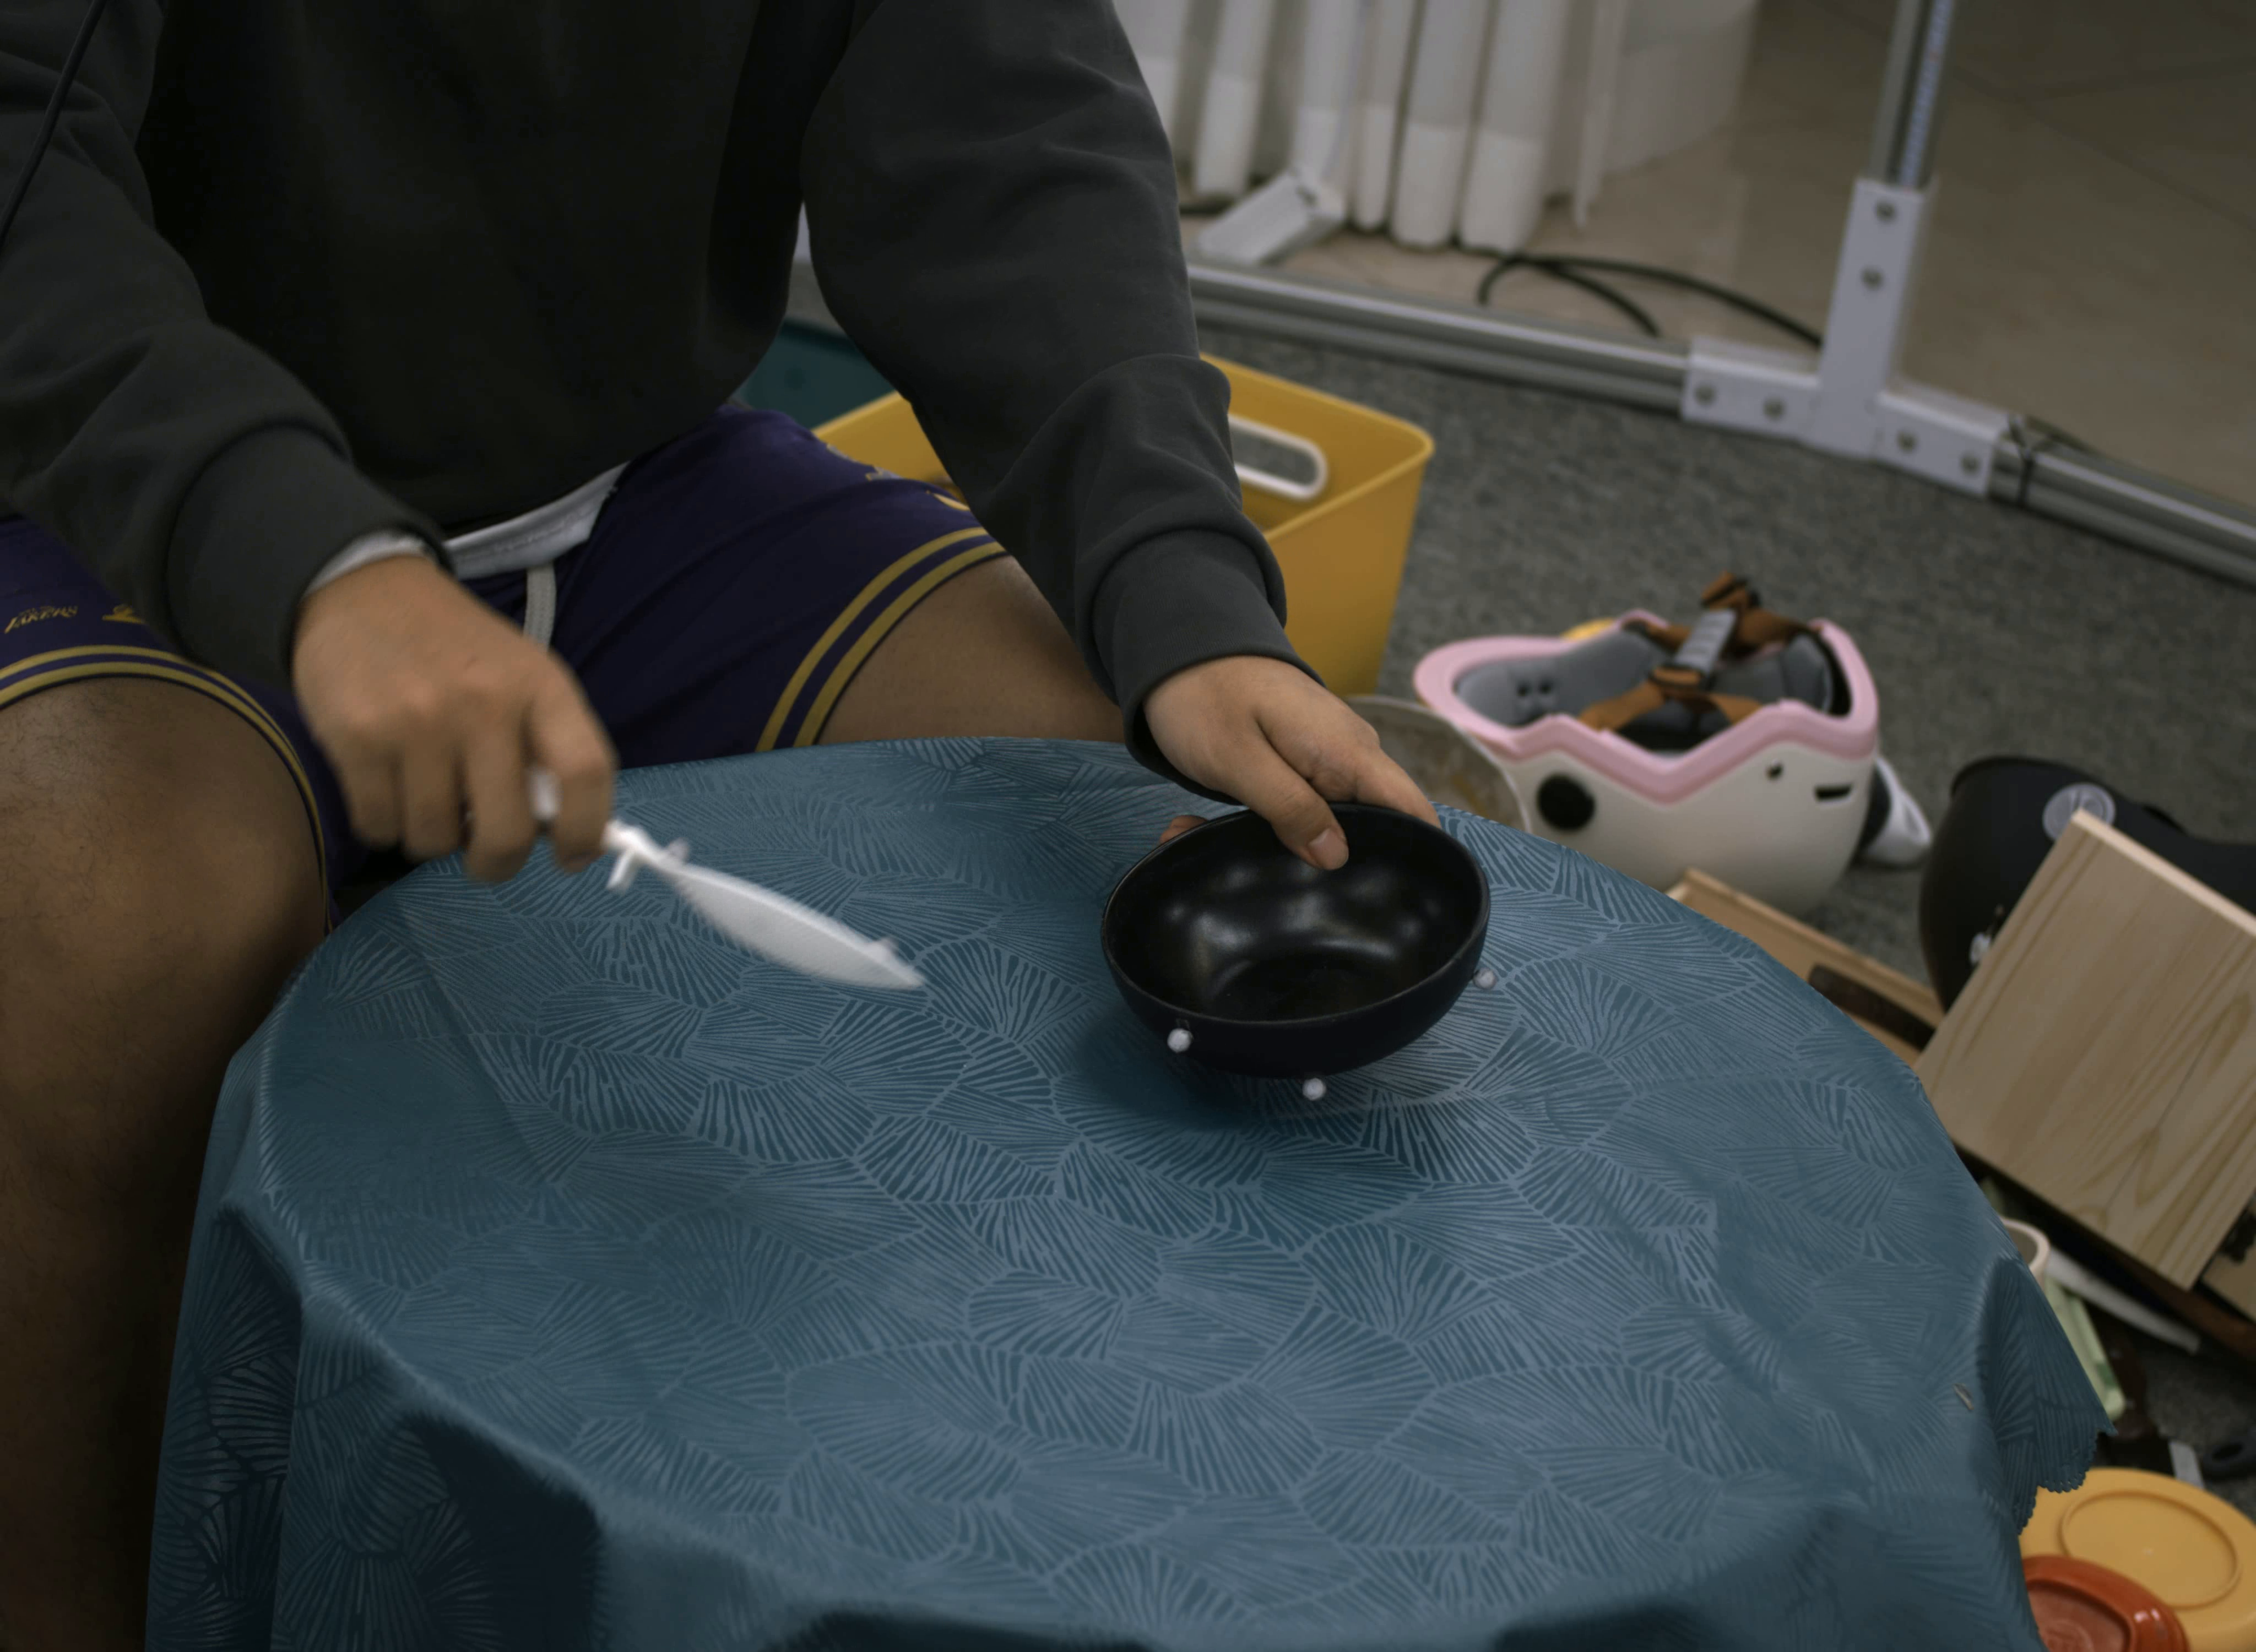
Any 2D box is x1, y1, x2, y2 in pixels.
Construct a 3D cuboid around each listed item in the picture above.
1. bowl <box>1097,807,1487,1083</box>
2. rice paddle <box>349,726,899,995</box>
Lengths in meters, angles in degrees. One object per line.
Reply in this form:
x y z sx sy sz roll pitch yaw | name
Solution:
0.060 0.051 1.889 0.140 0.049 0.141 -7 32 4 | bowl
-0.164 0.015 1.757 0.206 0.029 0.068 21 -7 19 | rice paddle
